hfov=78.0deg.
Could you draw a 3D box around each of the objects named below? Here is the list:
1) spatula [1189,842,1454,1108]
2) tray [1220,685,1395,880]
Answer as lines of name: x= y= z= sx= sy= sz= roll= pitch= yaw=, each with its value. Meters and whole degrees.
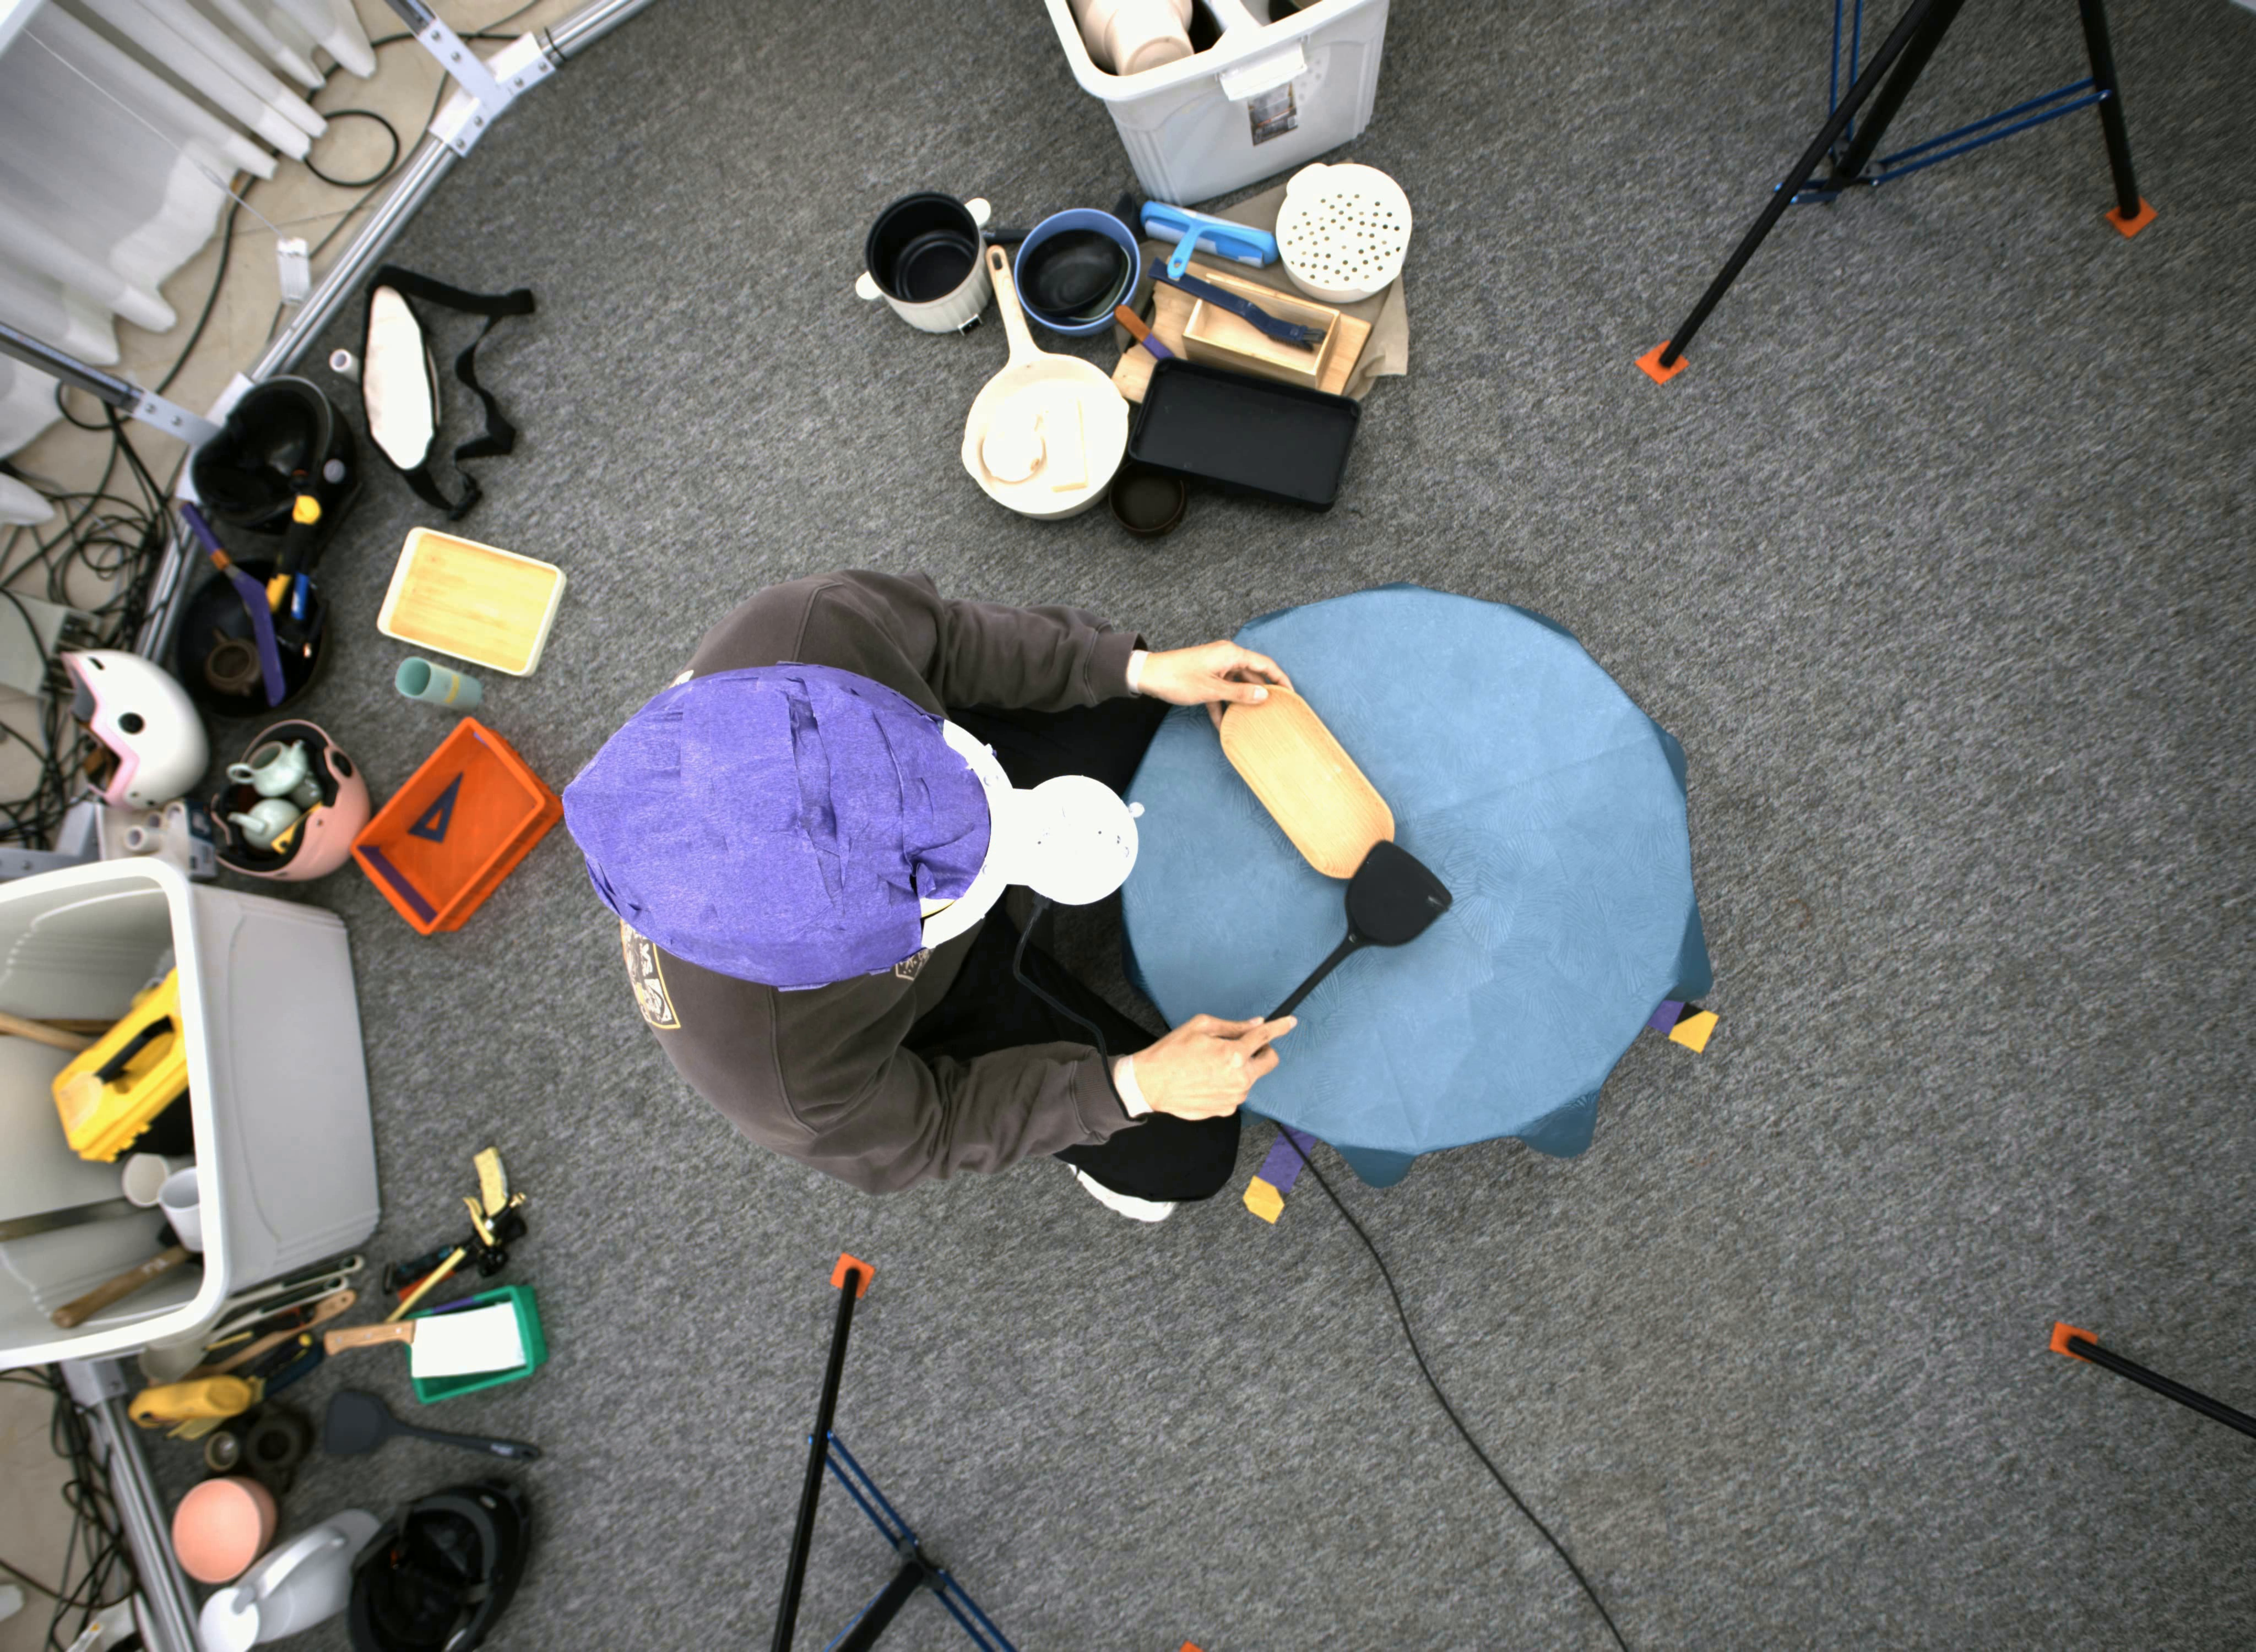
spatula: x=0.176 y=0.155 z=1.352 sx=0.324 sy=0.041 sz=0.099 roll=-43 pitch=71 yaw=-7
tray: x=0.187 y=-0.047 z=1.443 sx=0.102 sy=0.020 sz=0.230 roll=-39 pitch=85 yaw=9
